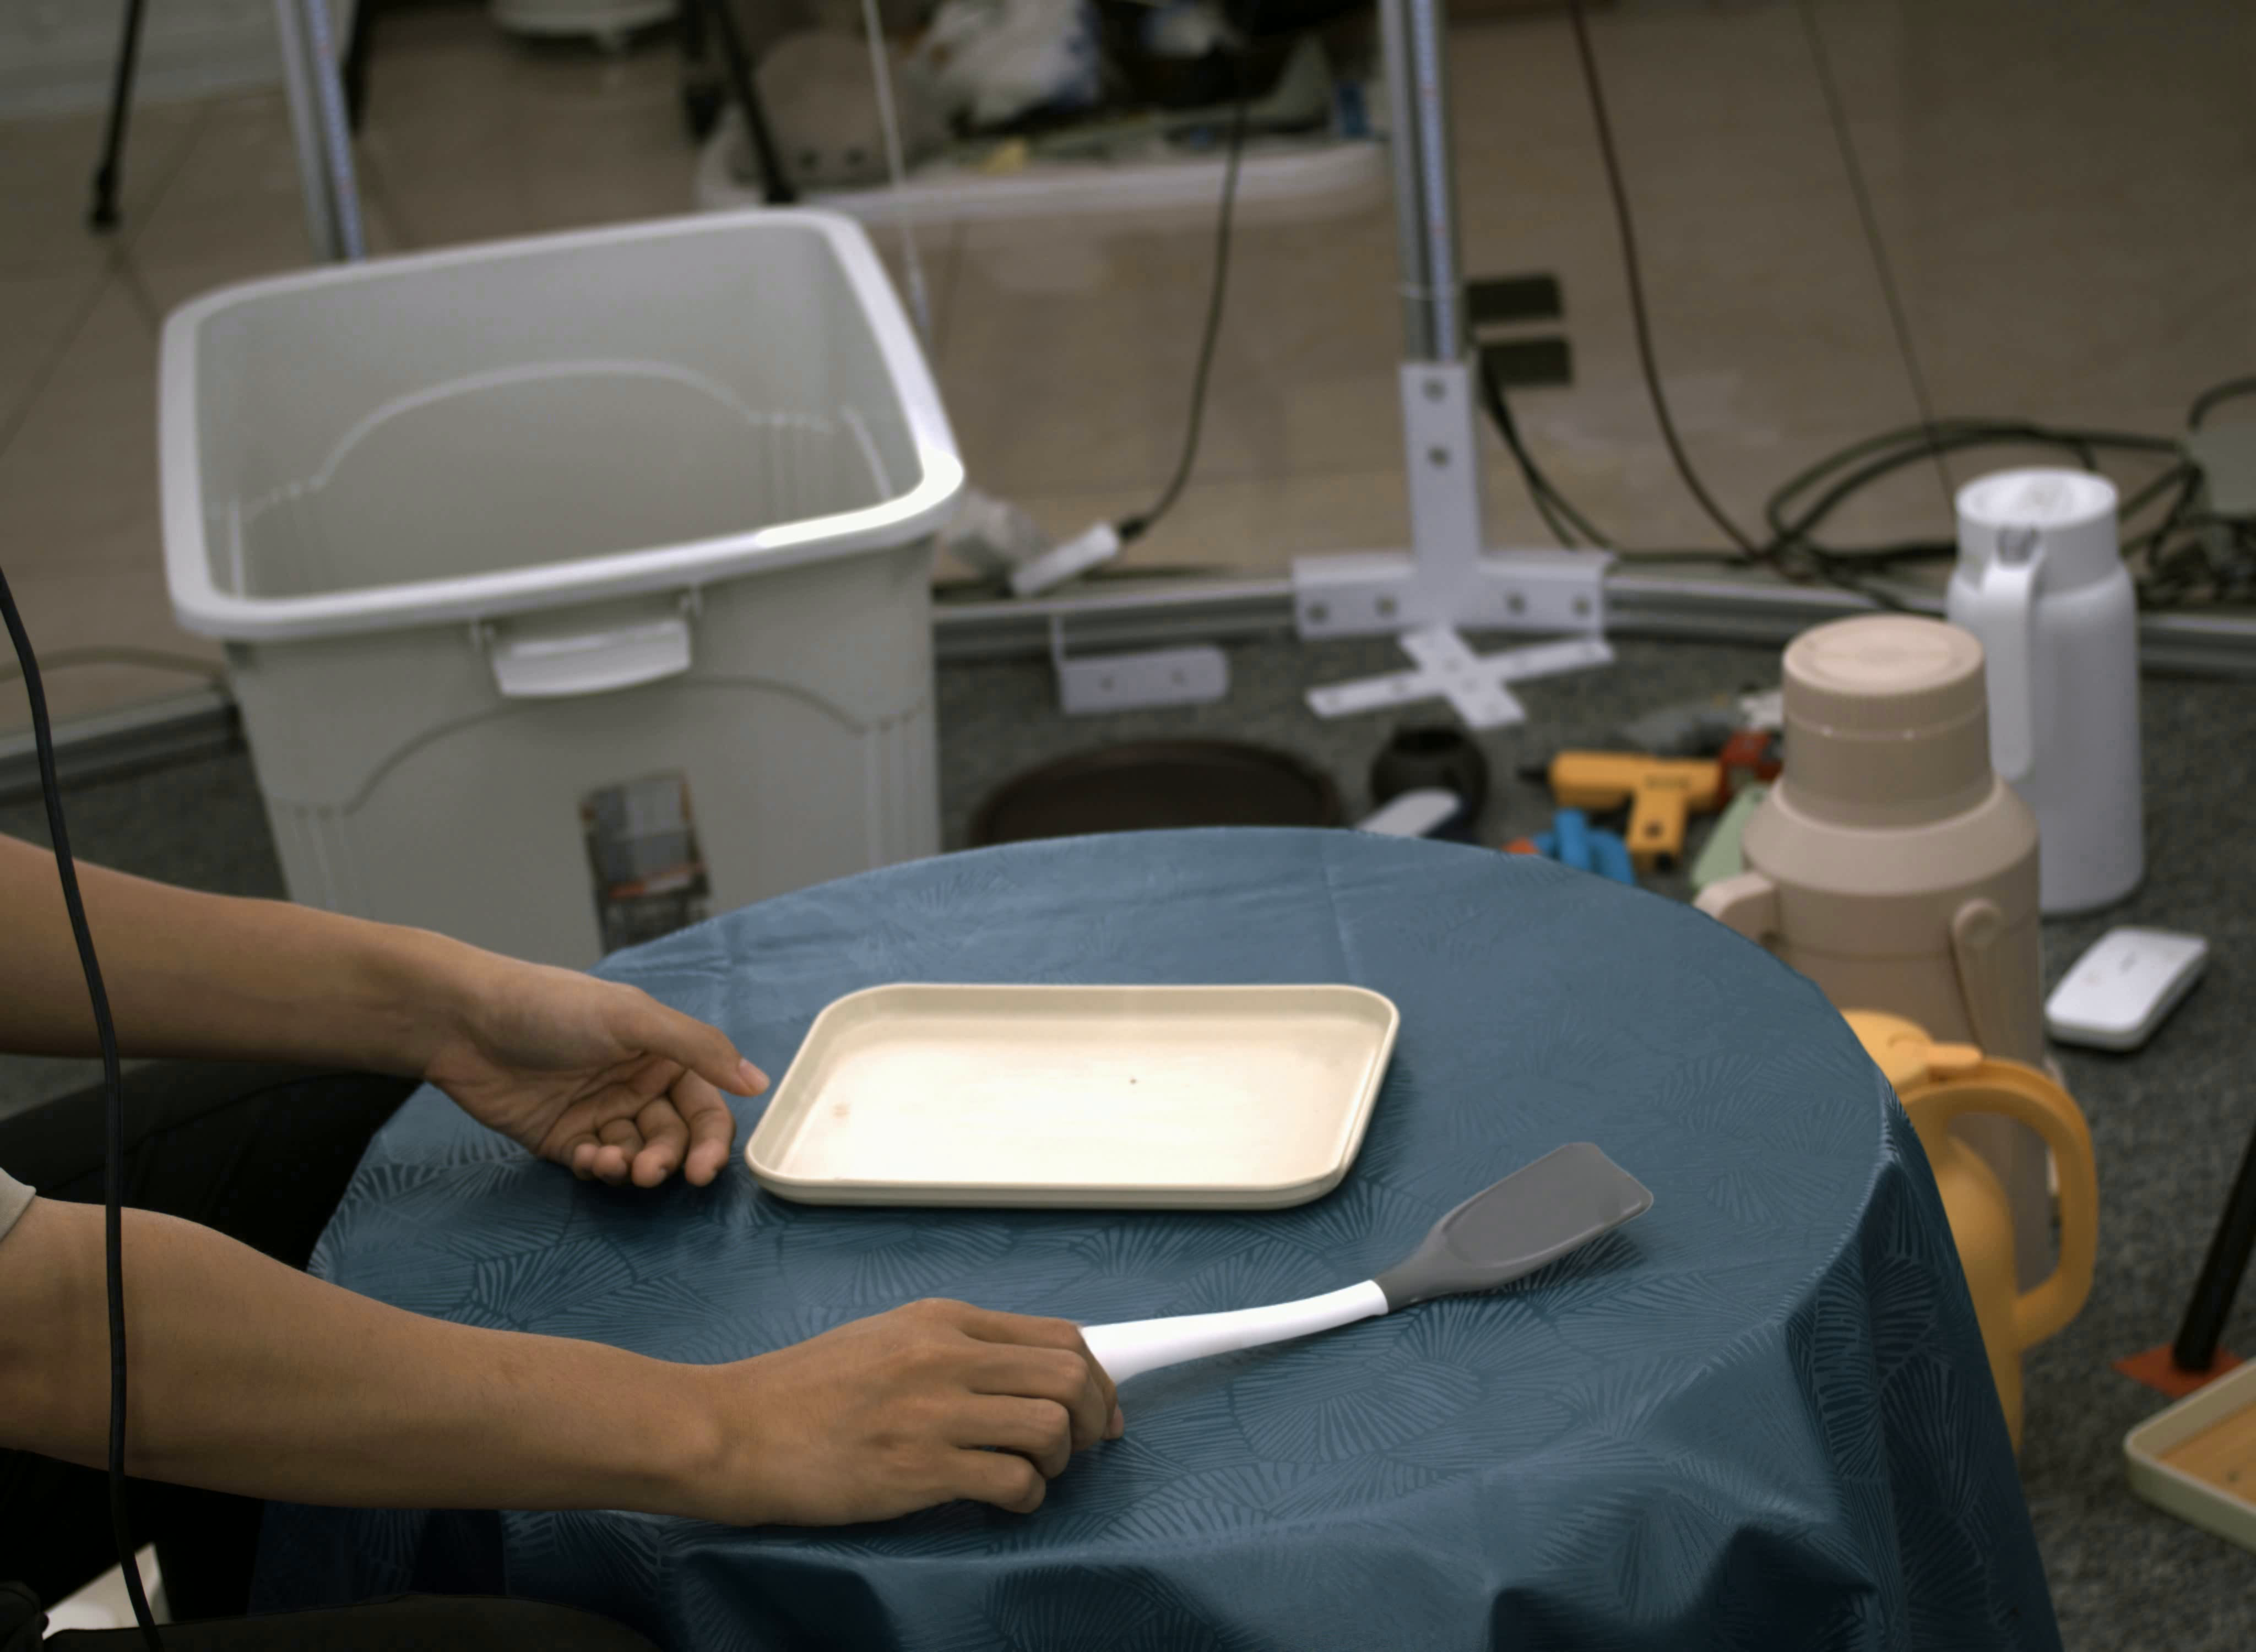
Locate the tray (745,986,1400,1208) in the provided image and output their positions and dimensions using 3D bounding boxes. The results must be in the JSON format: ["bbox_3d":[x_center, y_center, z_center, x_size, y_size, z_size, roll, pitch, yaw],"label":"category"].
[{"bbox_3d":[-0.019,0.106,2.207,0.239,0.018,0.169,0,24,13],"label":"tray"}]

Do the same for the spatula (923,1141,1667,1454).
[{"bbox_3d":[0.061,0.169,2.029,0.286,0.033,0.058,-15,29,-24],"label":"spatula"}]
